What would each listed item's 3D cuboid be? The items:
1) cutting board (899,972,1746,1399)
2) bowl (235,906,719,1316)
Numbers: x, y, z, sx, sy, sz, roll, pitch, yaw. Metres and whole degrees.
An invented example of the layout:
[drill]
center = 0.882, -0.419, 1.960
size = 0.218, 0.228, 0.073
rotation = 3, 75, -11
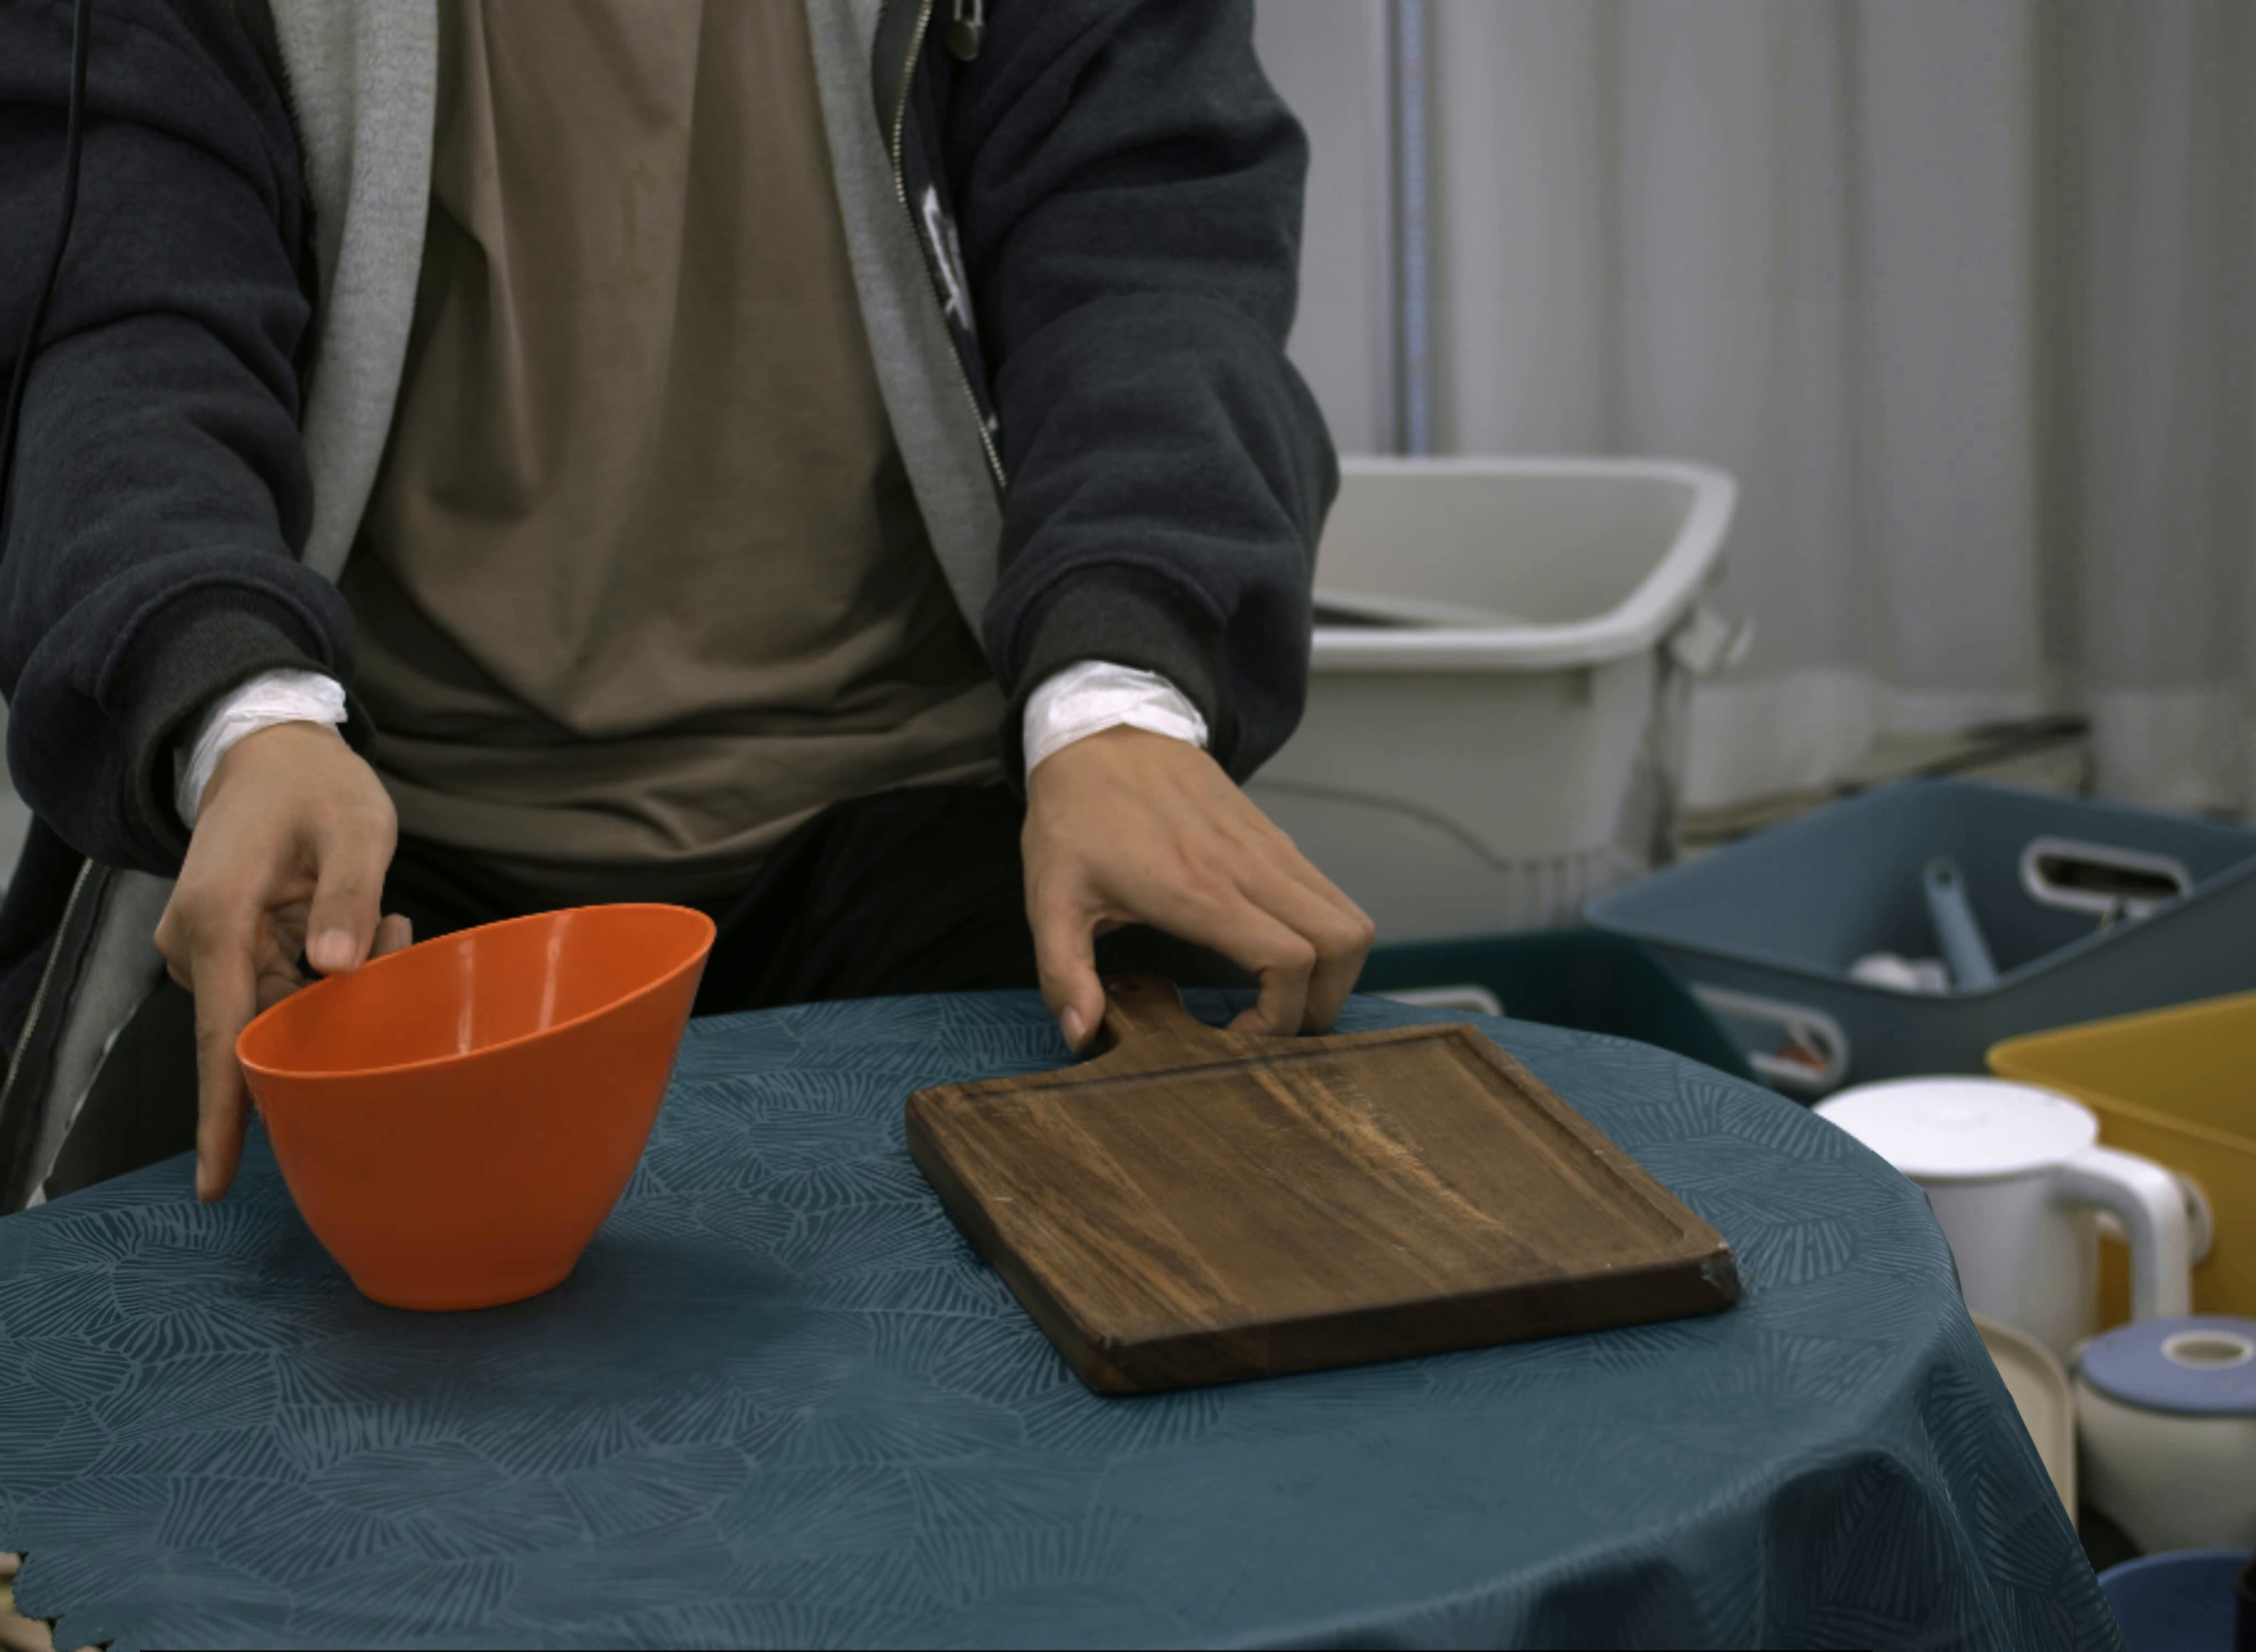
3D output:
[cutting board]
center = 0.040, 0.101, 1.720
size = 0.200, 0.023, 0.355
rotation = -7, 15, -14
[bowl]
center = -0.194, 0.088, 1.657
size = 0.147, 0.104, 0.149
rotation = -3, 15, 0
